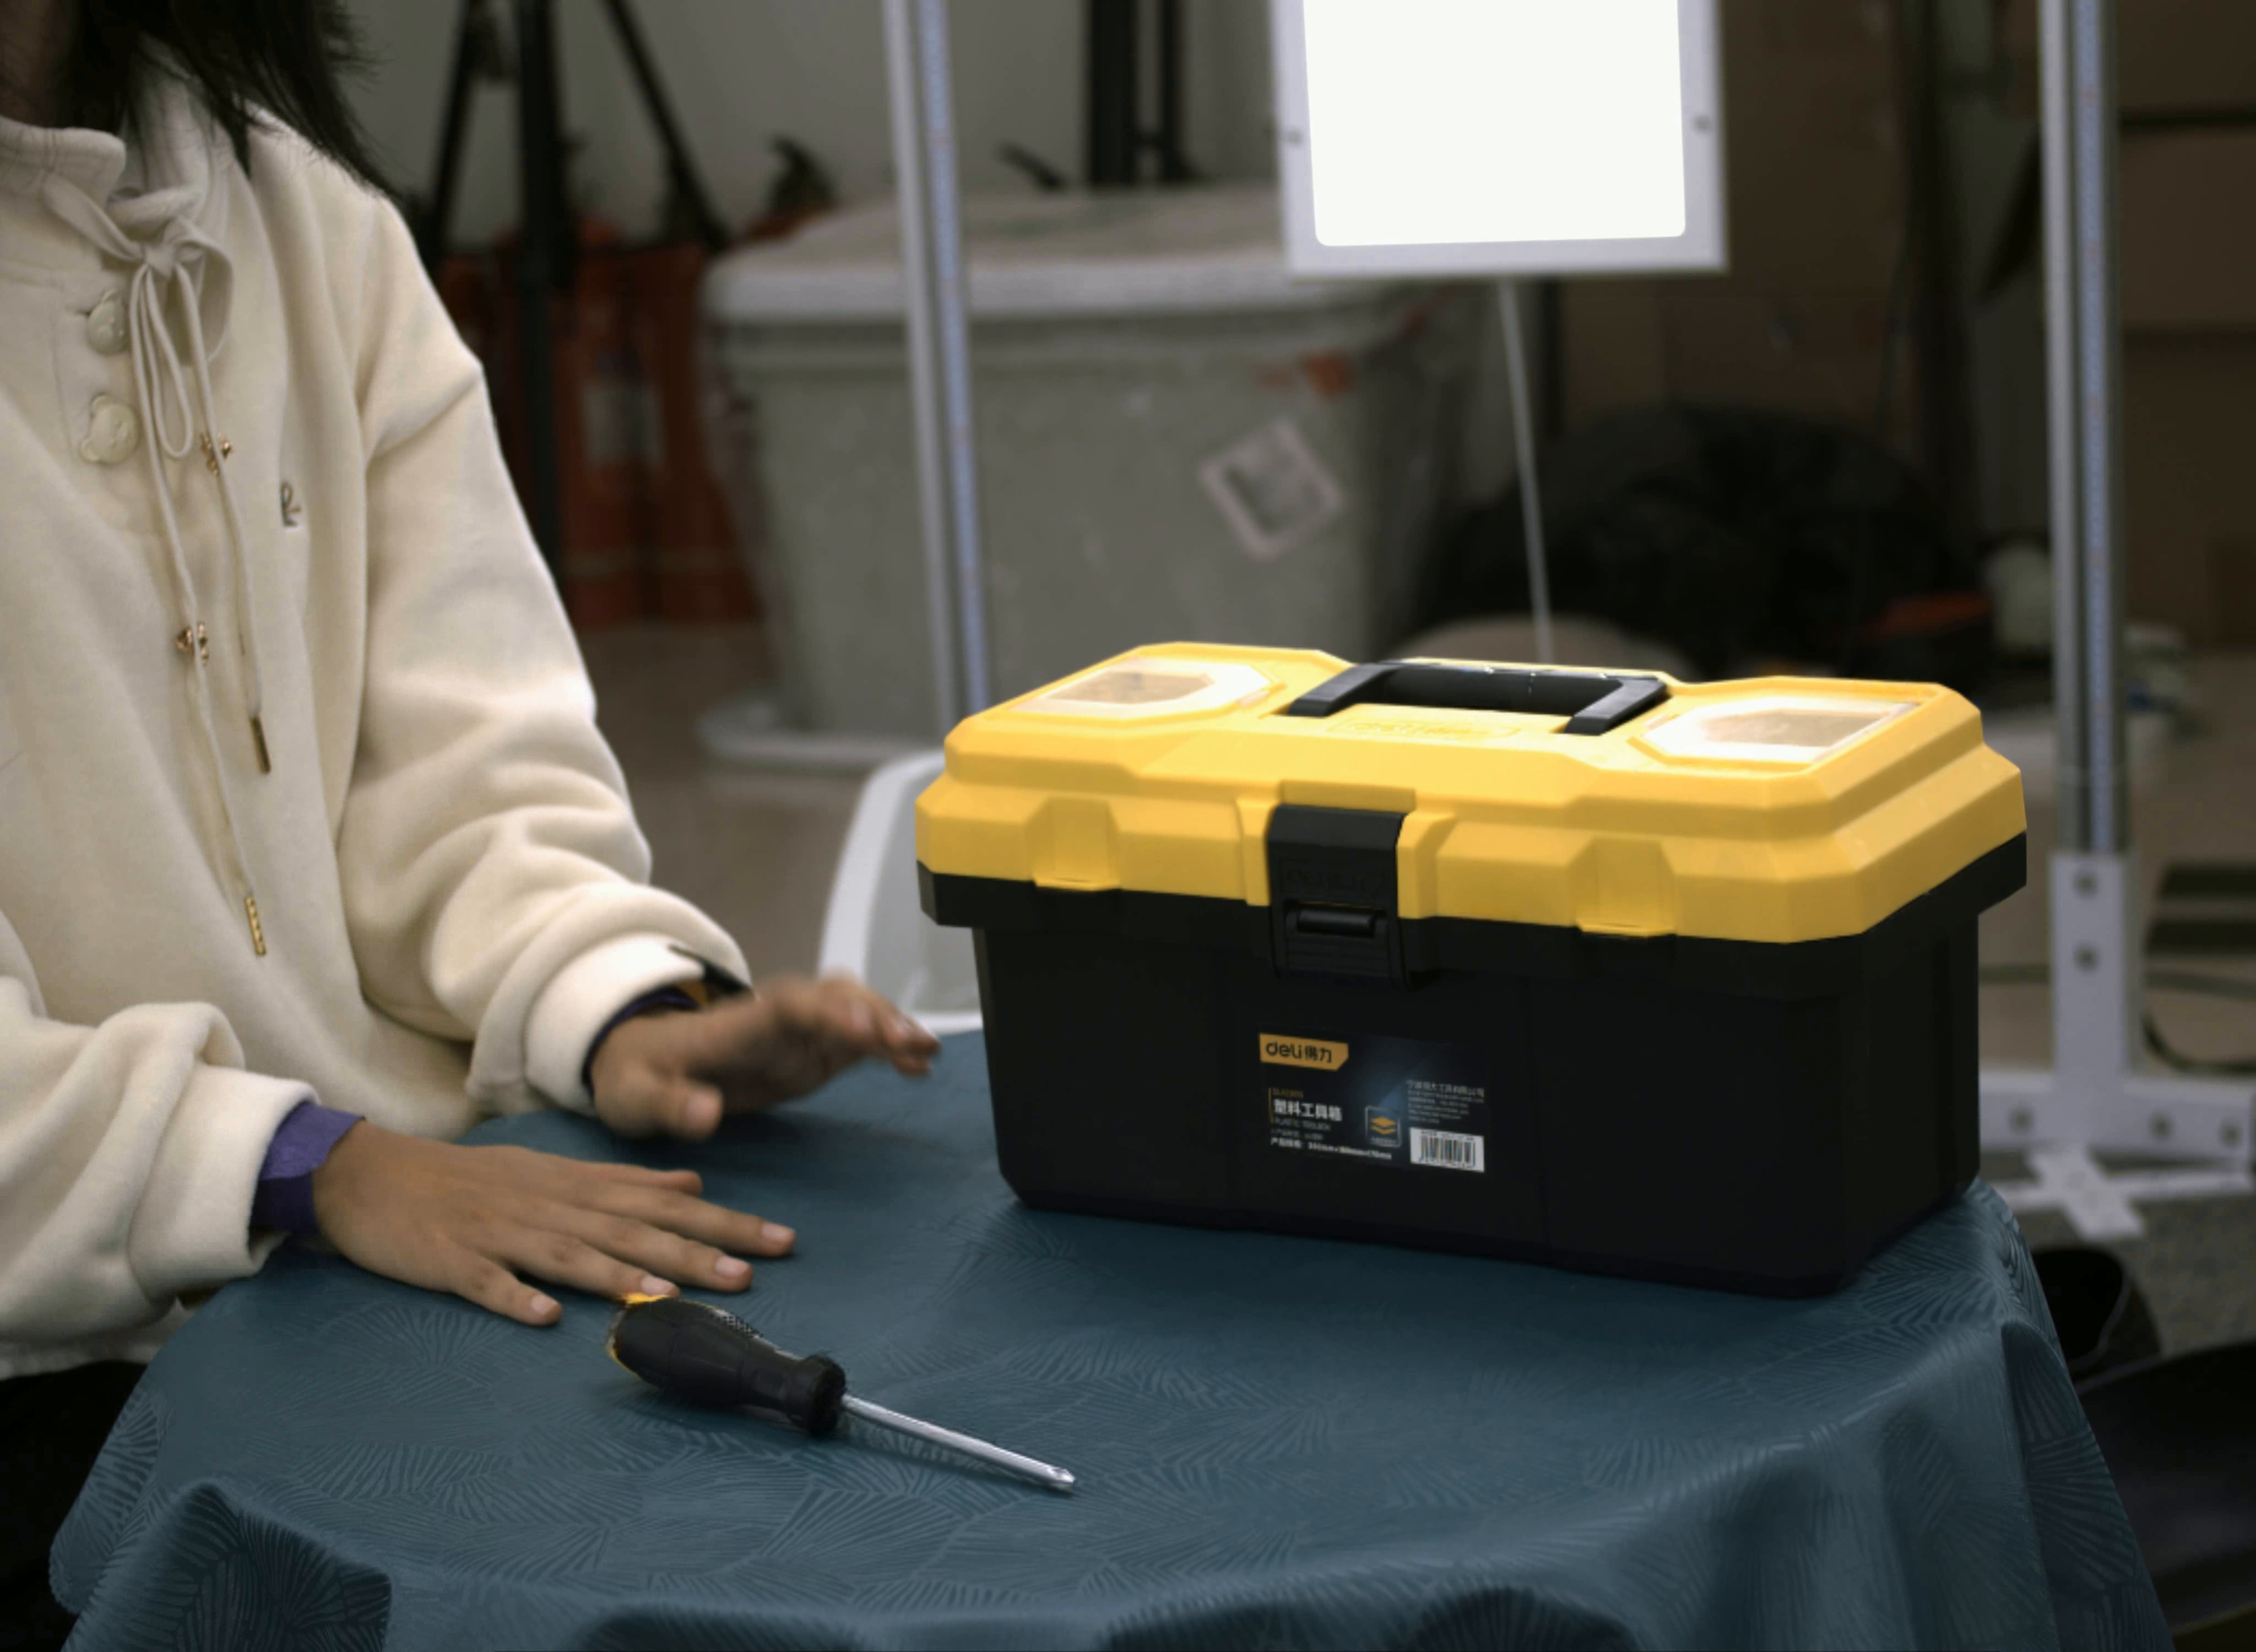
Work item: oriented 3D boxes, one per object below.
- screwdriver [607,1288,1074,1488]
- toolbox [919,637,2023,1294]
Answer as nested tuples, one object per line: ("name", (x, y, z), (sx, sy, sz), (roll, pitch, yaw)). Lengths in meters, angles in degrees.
("screwdriver", (-0.088, 0.171, 1.682), (0.200, 0.031, 0.030), (10, 20, 43))
("toolbox", (0.114, 0.042, 1.836), (0.358, 0.173, 0.177), (5, 17, 34))
